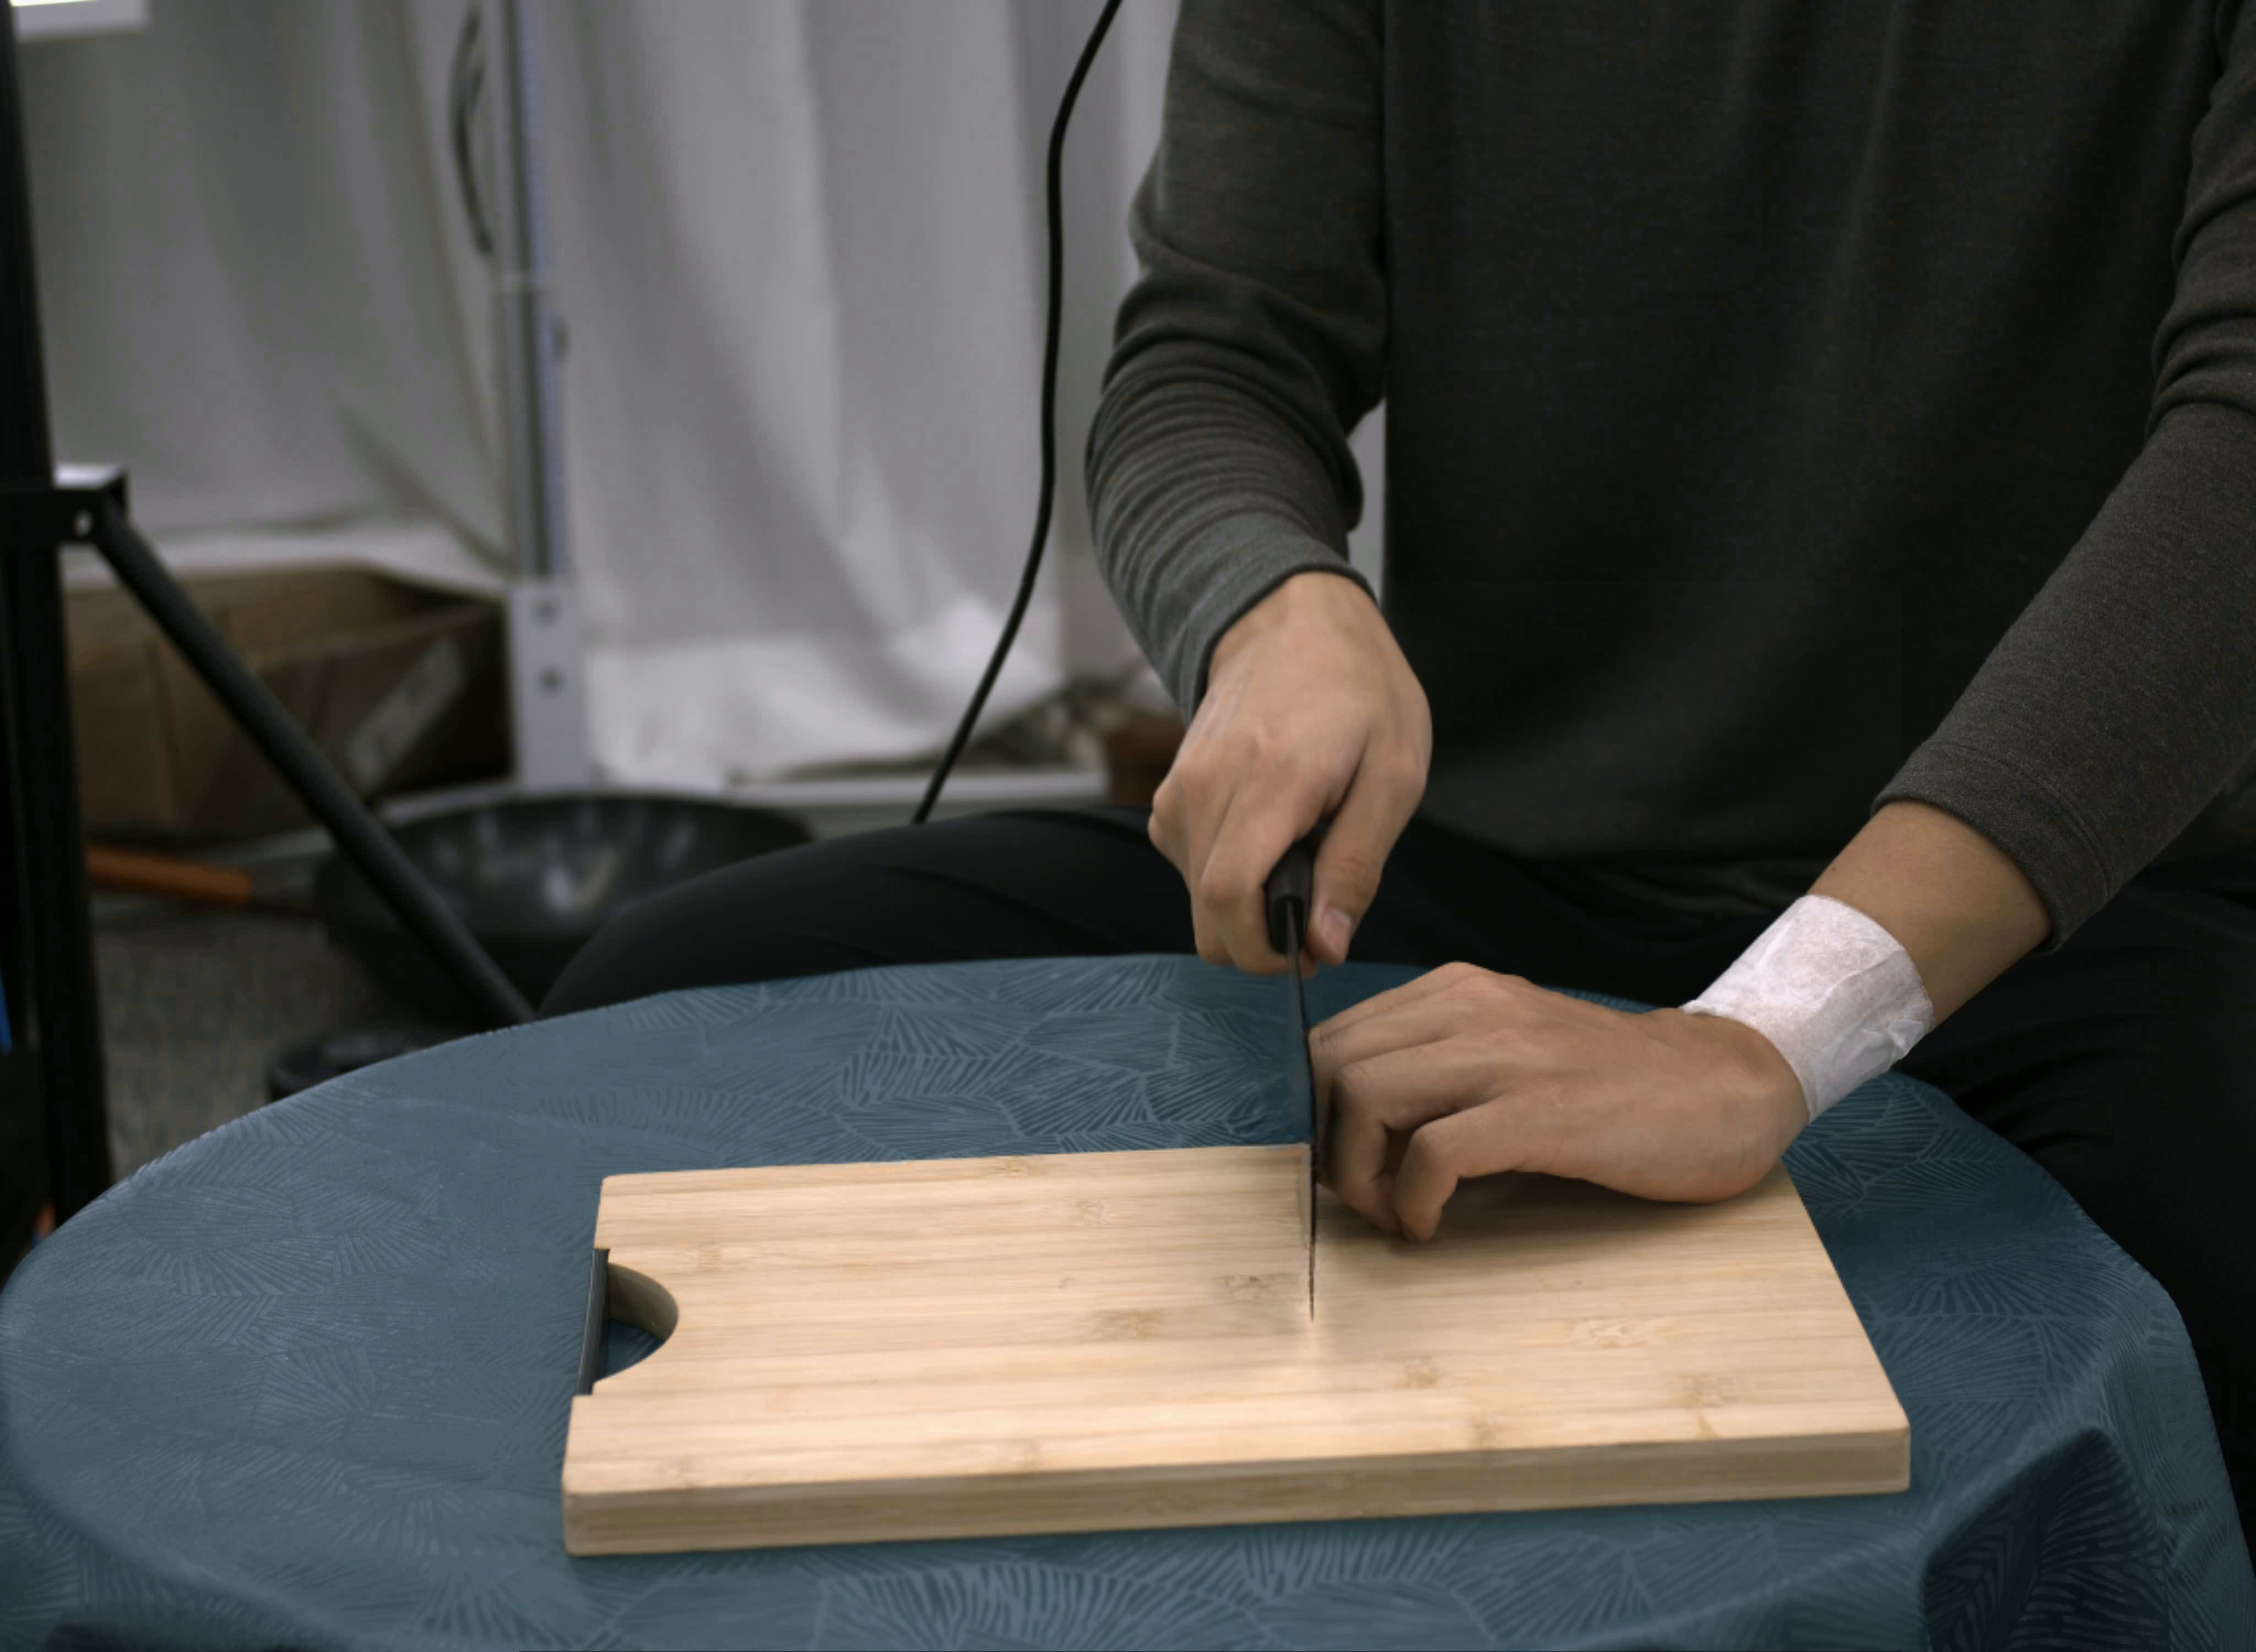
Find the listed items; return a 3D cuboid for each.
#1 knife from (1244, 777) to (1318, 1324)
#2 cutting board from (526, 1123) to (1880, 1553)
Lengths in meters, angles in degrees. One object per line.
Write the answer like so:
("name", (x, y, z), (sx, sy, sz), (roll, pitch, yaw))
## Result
("knife", (0.047, 0.054, 1.513), (0.021, 0.081, 0.304), (1, 22, -1))
("cutting board", (0.017, 0.135, 1.433), (0.346, 0.023, 0.252), (-3, 15, -1))
